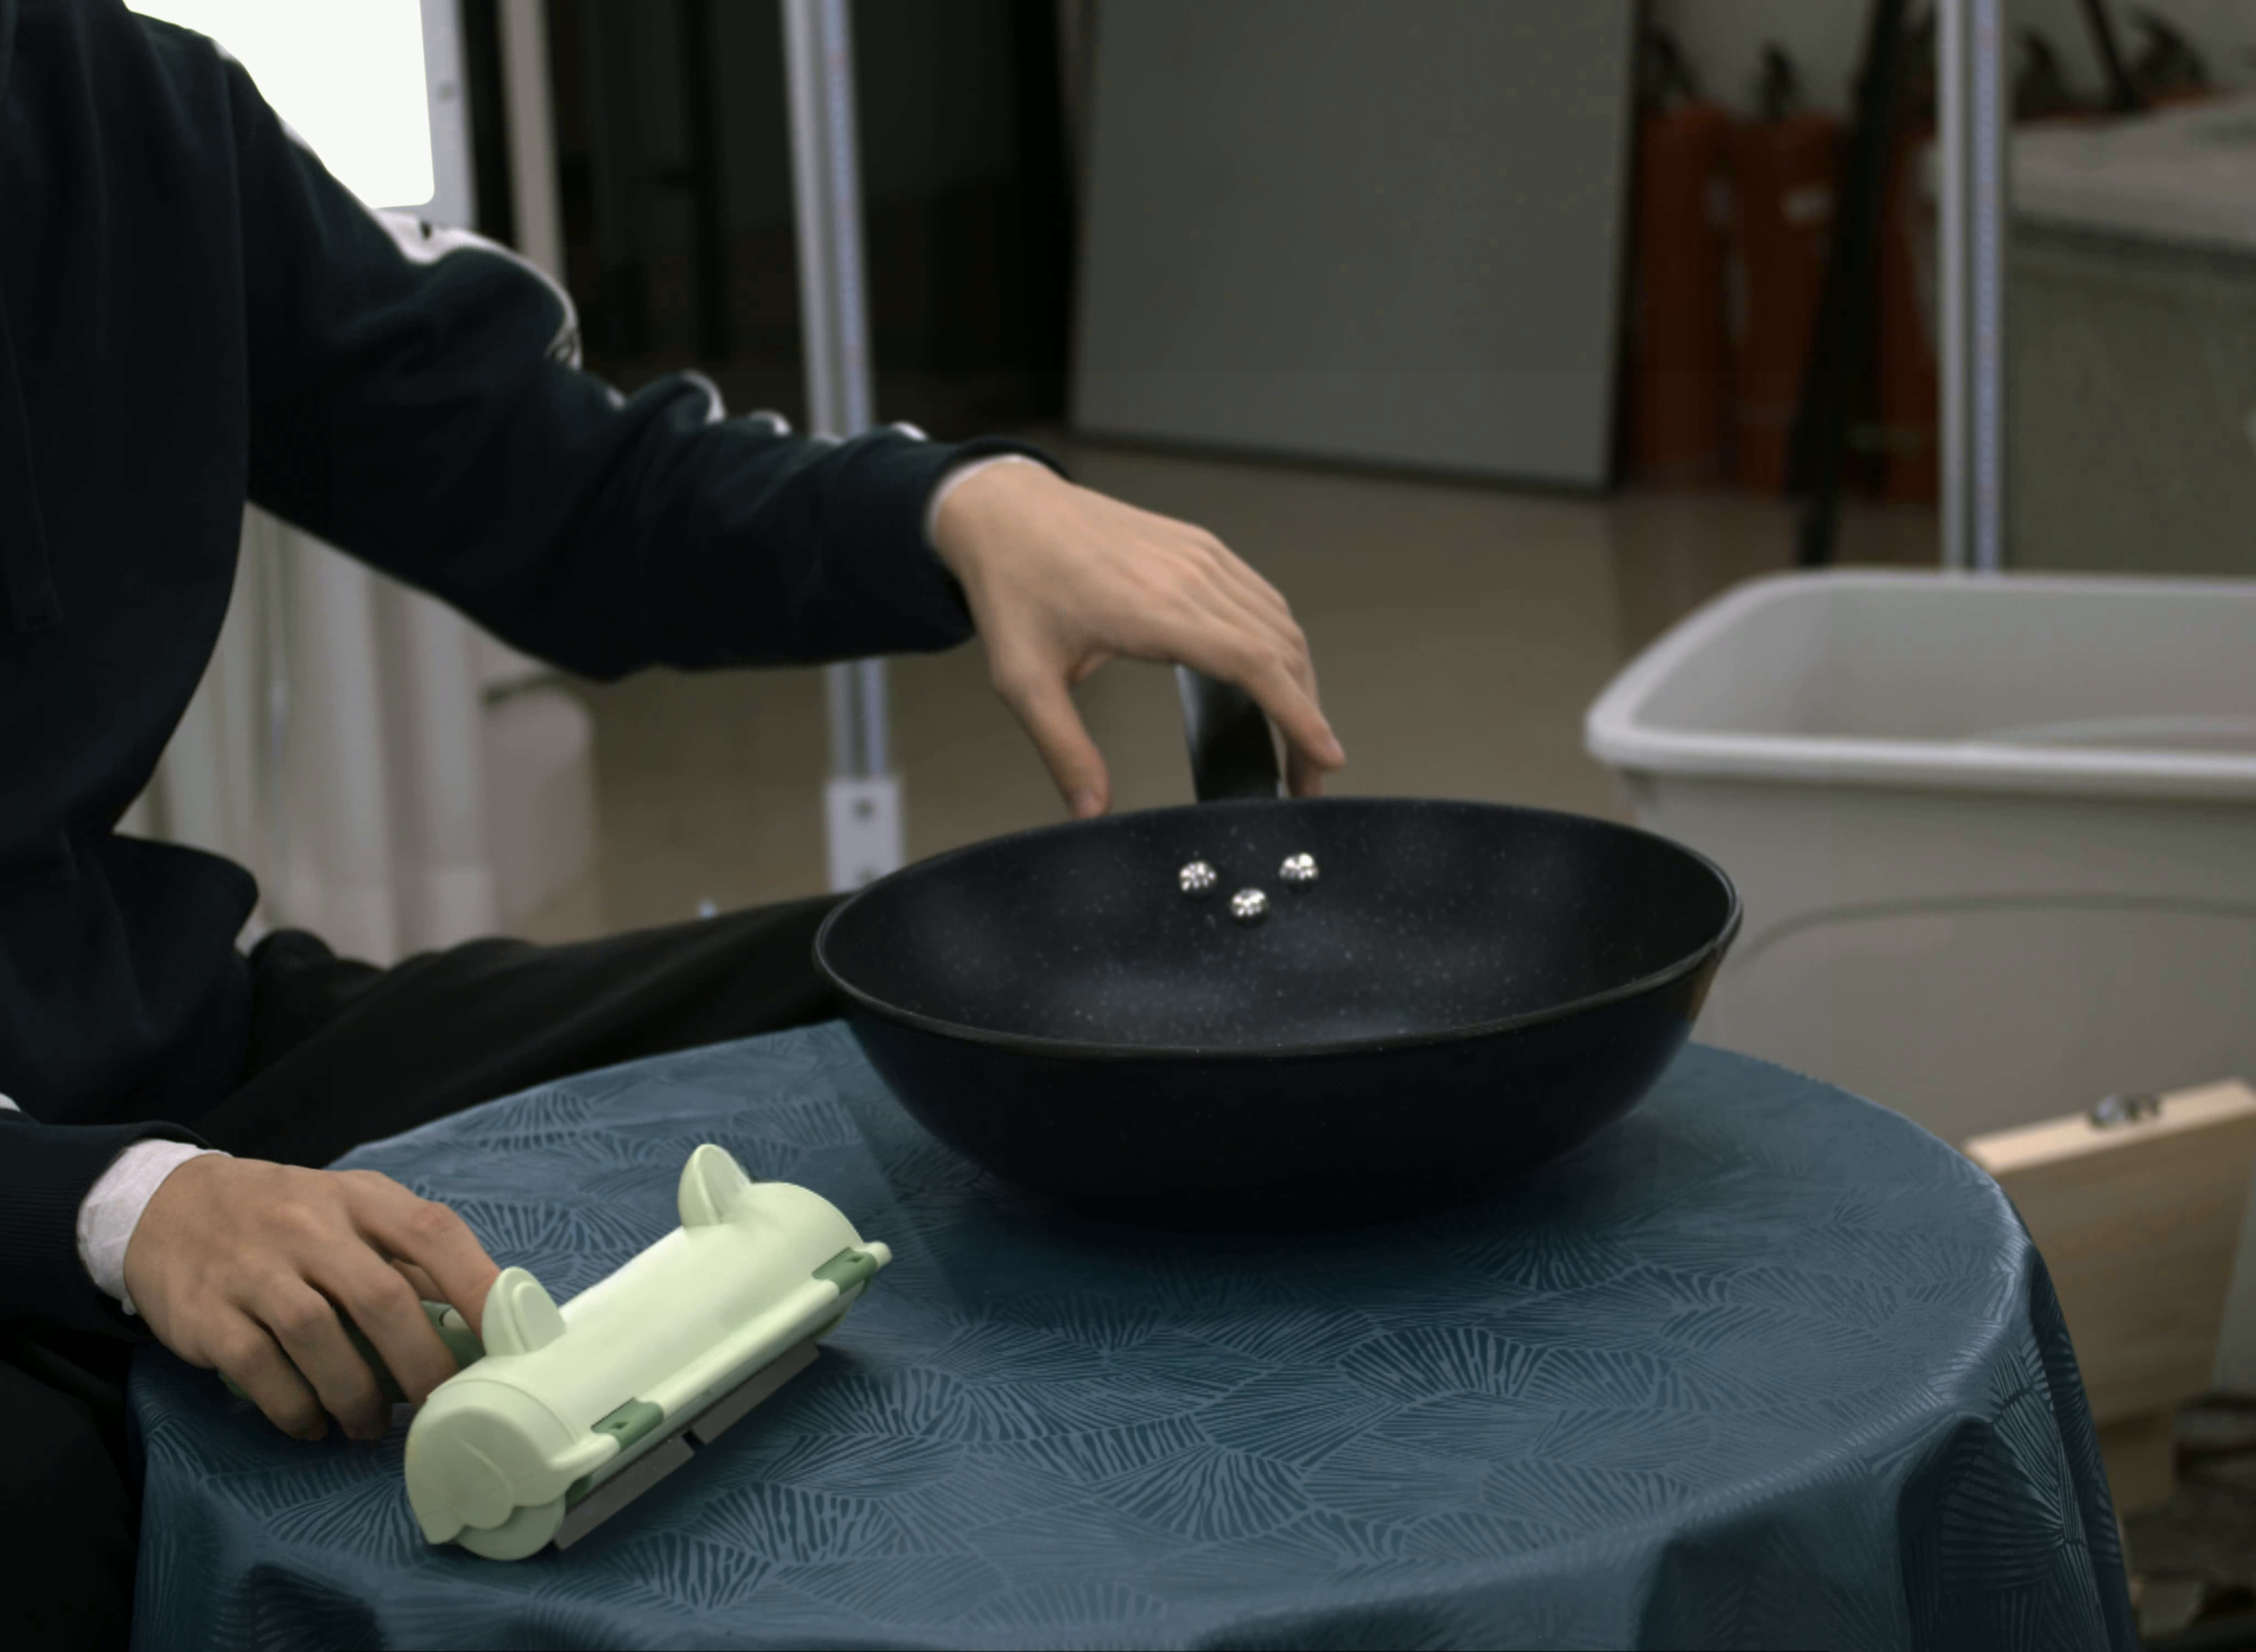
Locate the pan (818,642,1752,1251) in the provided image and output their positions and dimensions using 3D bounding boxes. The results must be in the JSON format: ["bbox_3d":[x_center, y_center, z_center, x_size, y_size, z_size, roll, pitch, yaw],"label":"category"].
[{"bbox_3d":[0.047,0.042,1.857,0.306,0.113,0.478,-3,14,-2],"label":"pan"}]

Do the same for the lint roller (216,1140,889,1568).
[{"bbox_3d":[-0.190,0.142,1.585,0.183,0.083,0.196,8,18,24],"label":"lint roller"}]
